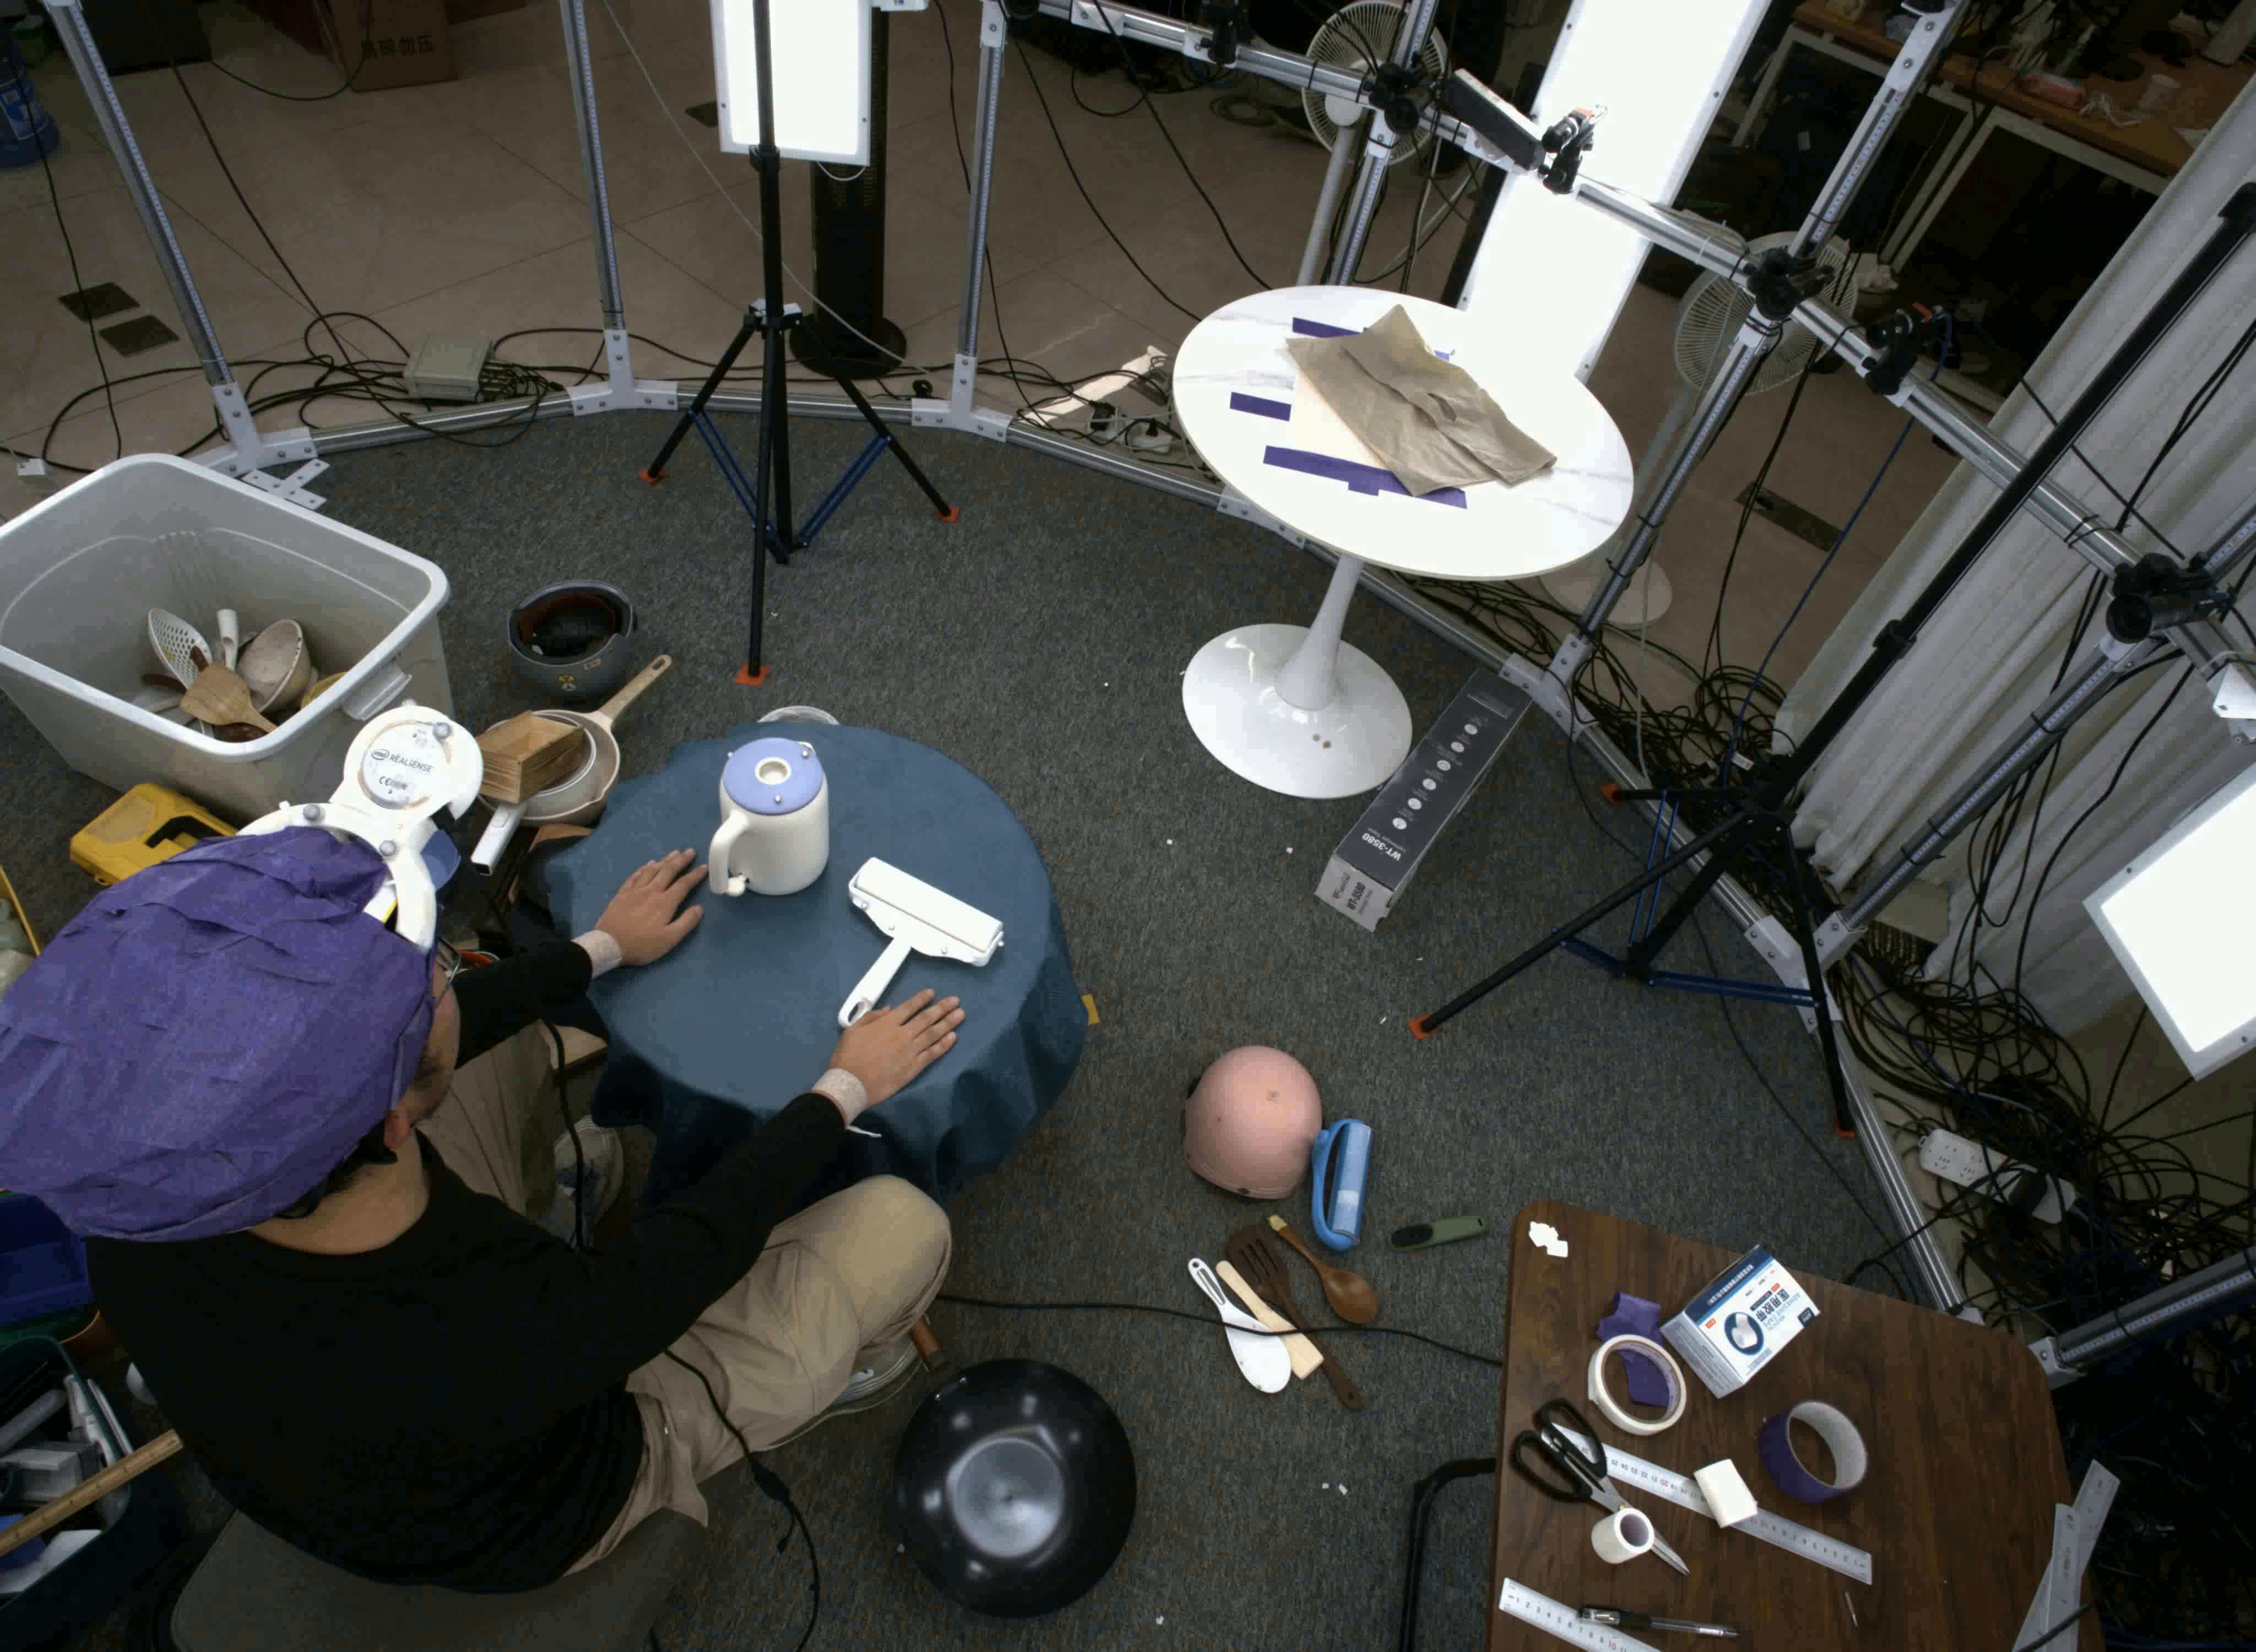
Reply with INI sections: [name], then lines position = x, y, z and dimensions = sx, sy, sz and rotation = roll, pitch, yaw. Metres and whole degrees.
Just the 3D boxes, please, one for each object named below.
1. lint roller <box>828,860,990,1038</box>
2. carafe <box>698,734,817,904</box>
[lint roller]
position = -0.304, 0.162, 1.601
dimensions = 0.200, 0.049, 0.224
rotation = 26, 53, 4
[carafe]
position = -0.467, 0.004, 1.593
dimensions = 0.130, 0.186, 0.190
rotation = 26, 54, 9
